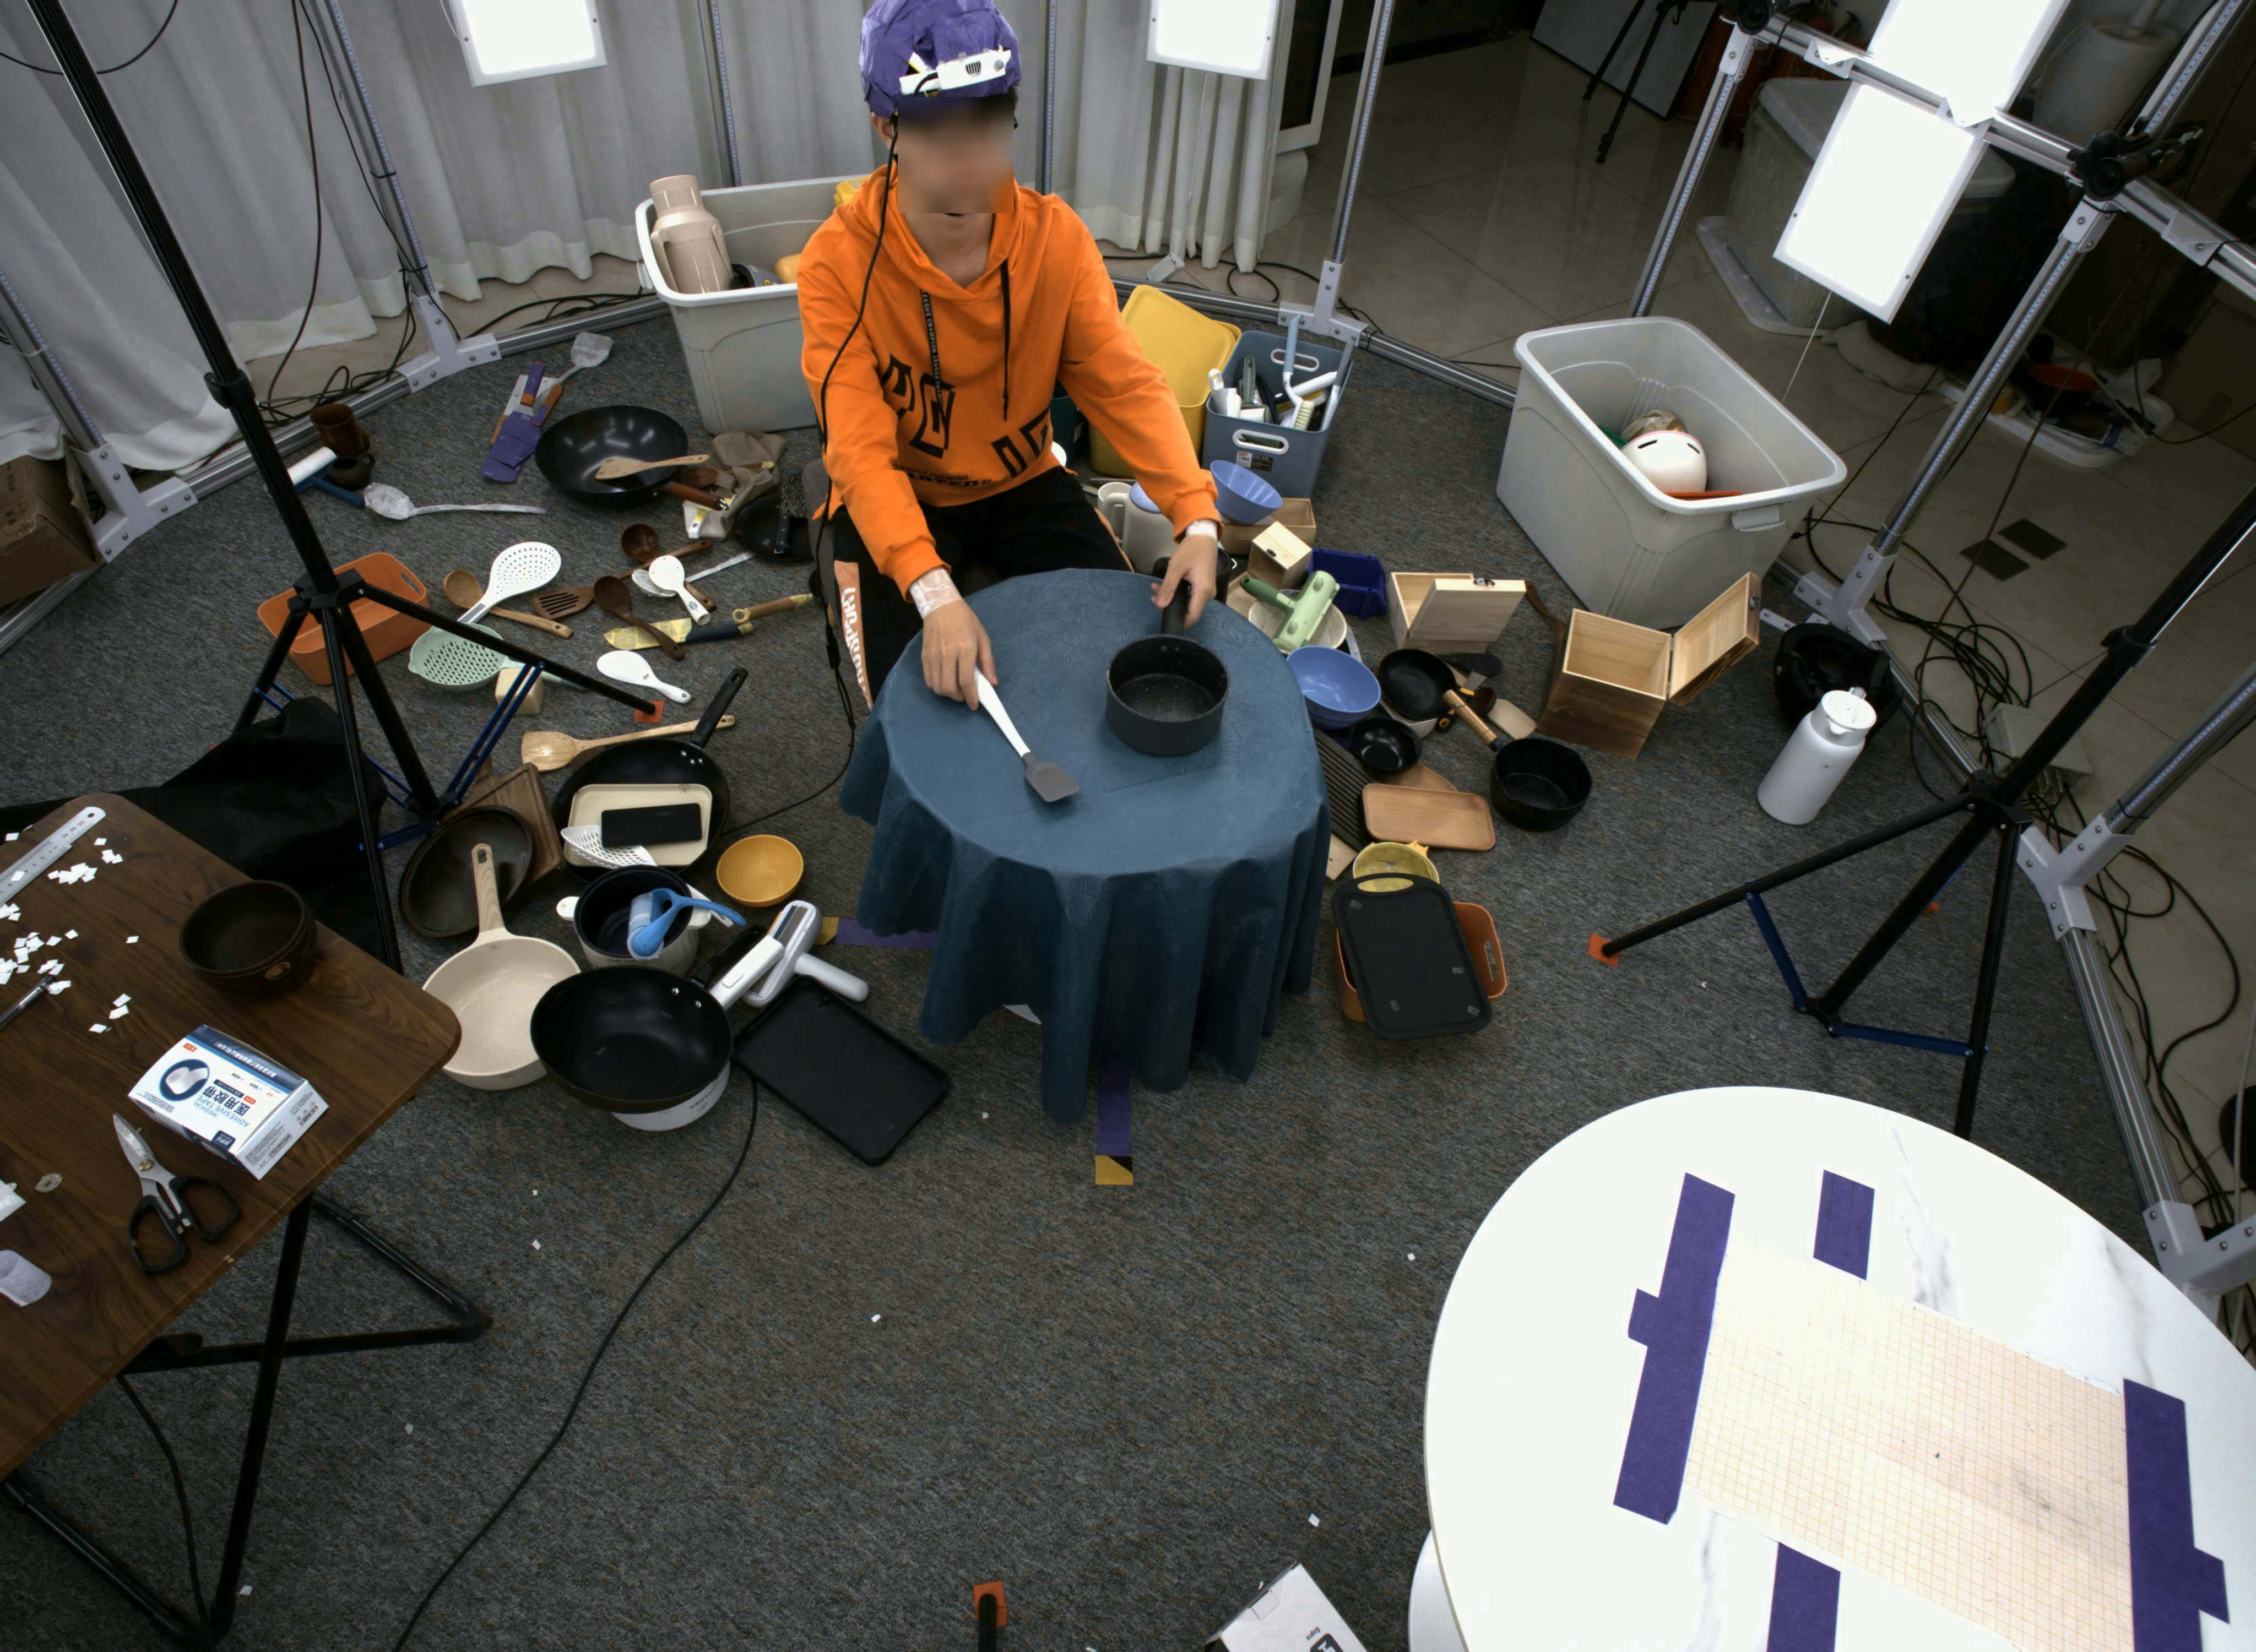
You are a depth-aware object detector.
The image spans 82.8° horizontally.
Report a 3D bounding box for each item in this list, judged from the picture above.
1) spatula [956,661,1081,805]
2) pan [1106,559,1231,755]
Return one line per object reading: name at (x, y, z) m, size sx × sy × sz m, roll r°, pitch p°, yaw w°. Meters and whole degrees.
spatula at (-0.155, -0.126, 1.747) m, size 0.059 × 0.031 × 0.293 m, roll -20°, pitch 53°, yaw -24°
pan at (0.063, -0.244, 1.830) m, size 0.172 × 0.084 × 0.336 m, roll 8°, pitch 51°, yaw 2°
